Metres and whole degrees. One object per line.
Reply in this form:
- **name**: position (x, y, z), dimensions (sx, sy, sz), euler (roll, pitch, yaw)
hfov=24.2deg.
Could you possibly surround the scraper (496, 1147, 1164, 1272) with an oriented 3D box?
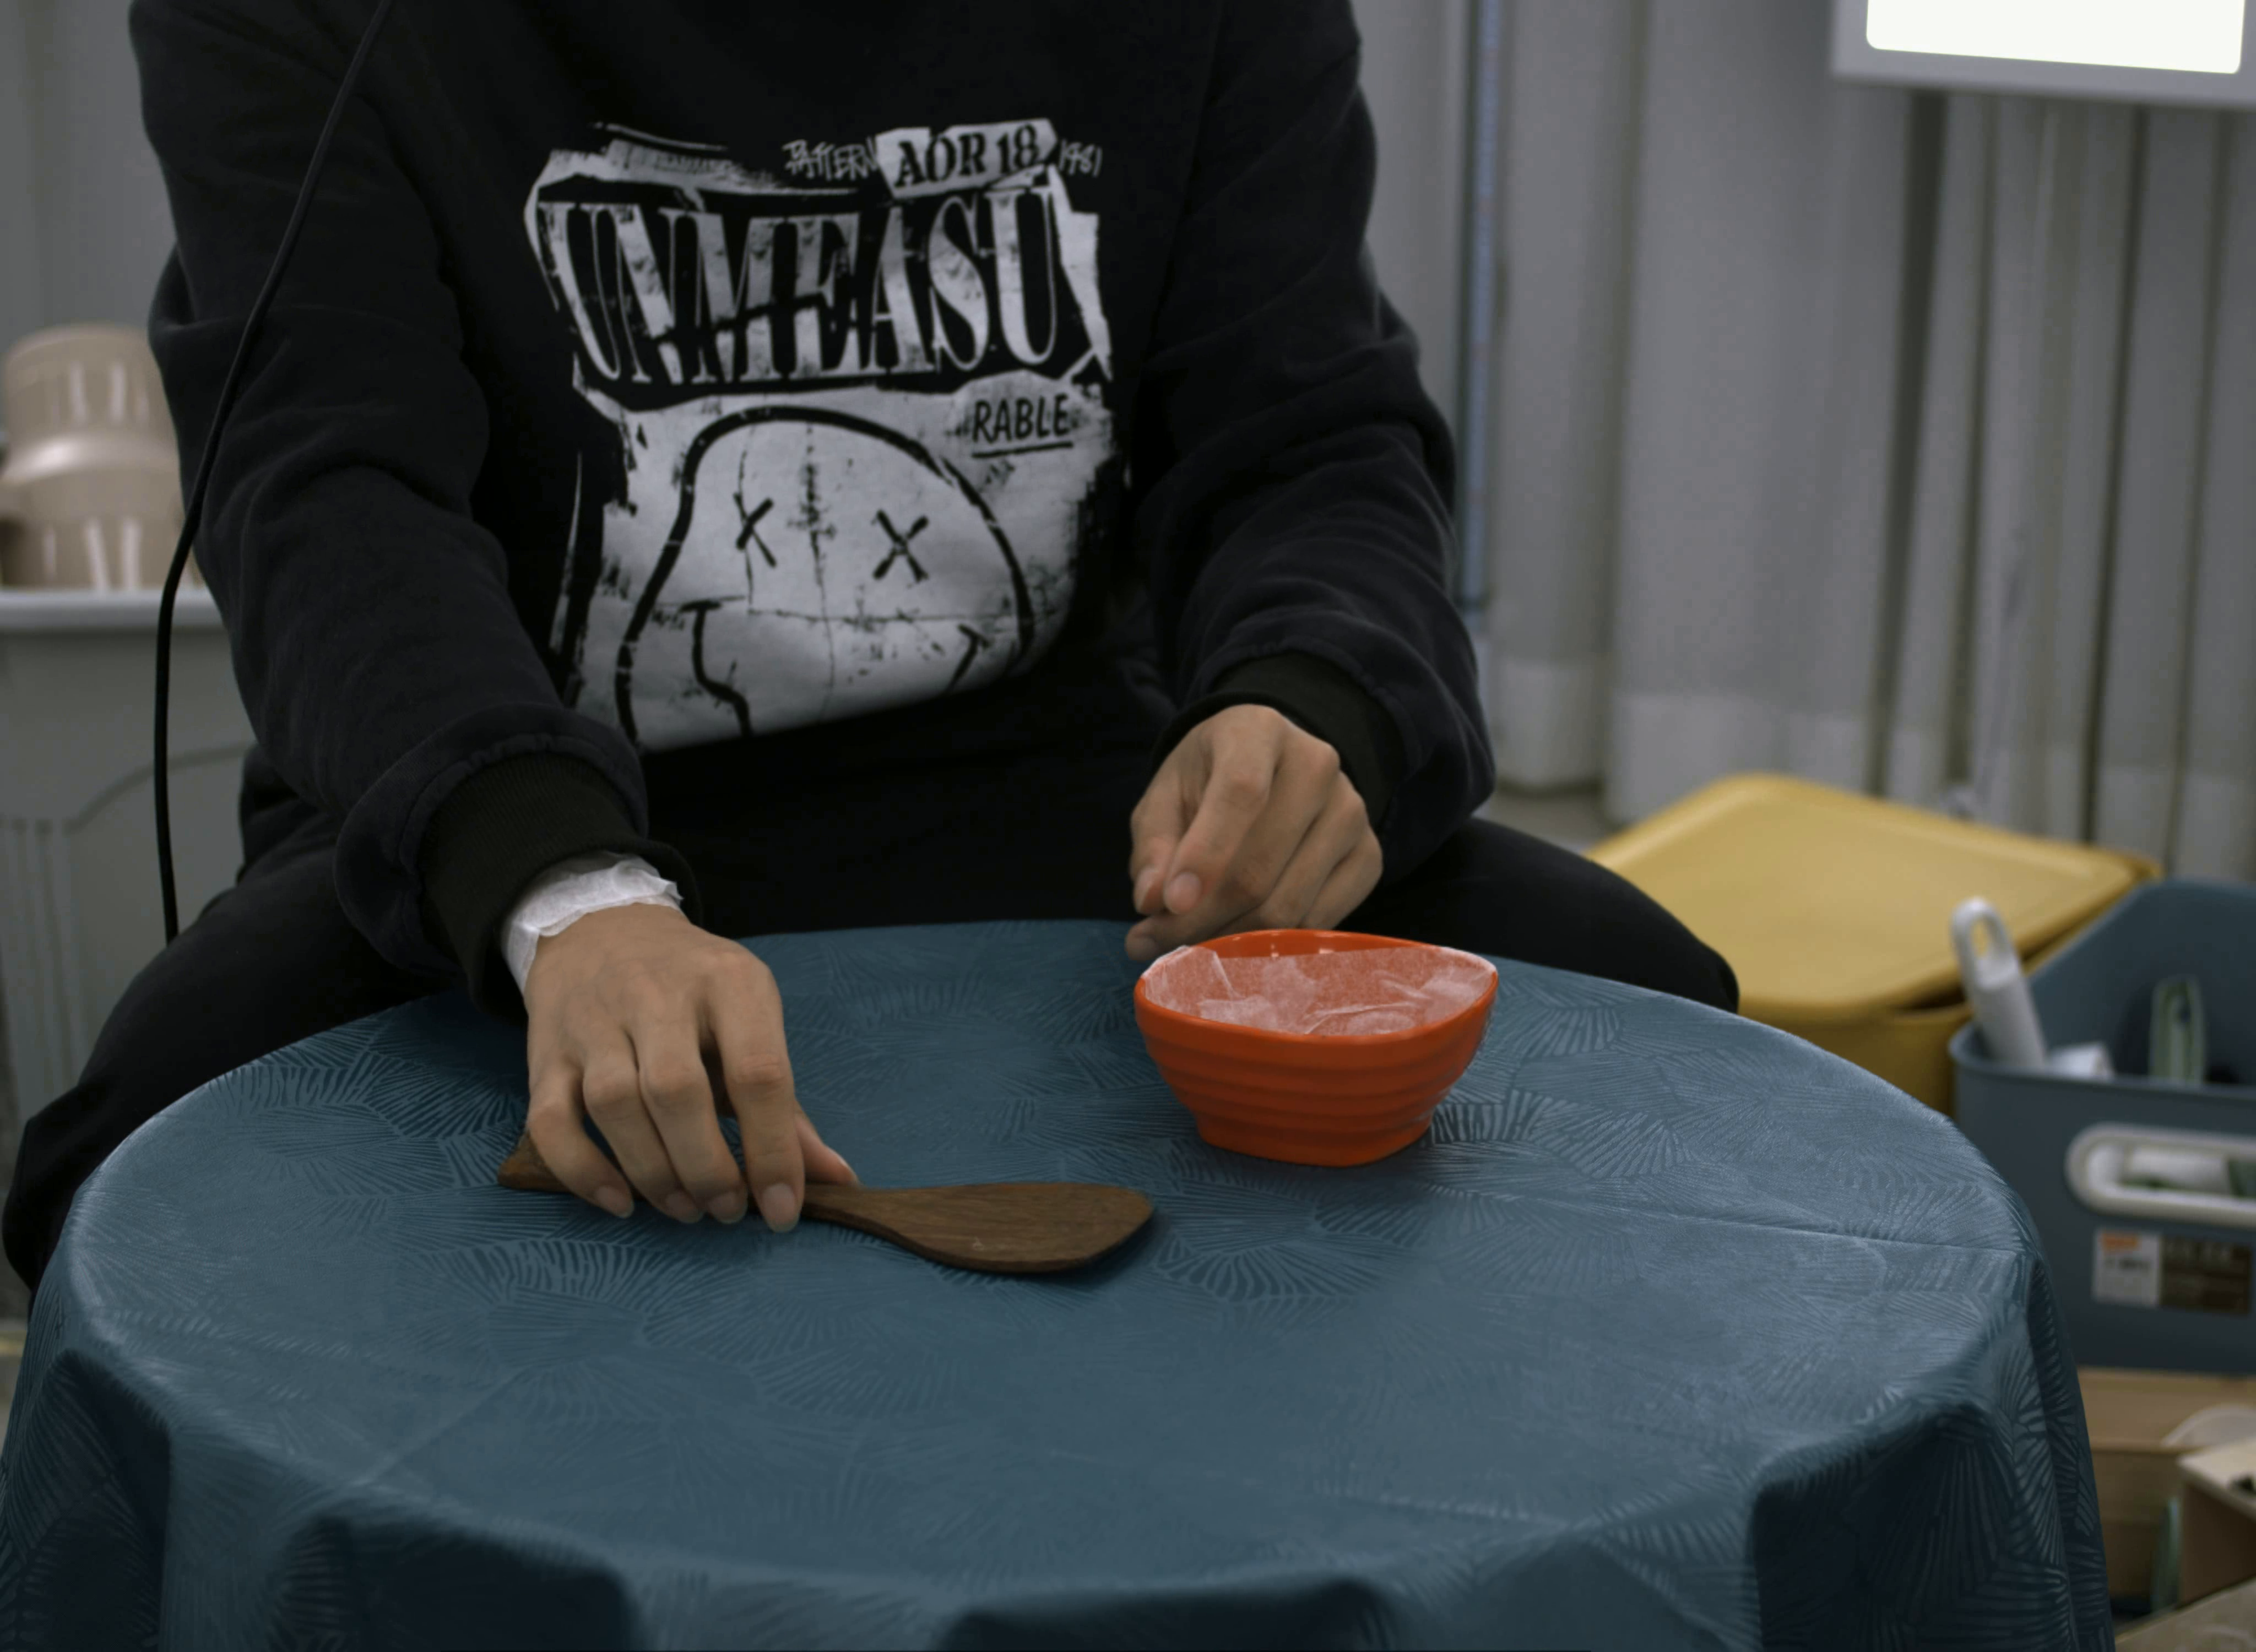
- **scraper**: position (-0.094, 0.114, 1.605), dimensions (0.209, 0.011, 0.076), euler (5, 16, 18)

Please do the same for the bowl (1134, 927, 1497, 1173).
- **bowl**: position (0.060, 0.073, 1.677), dimensions (0.118, 0.052, 0.118), euler (0, 18, 0)
